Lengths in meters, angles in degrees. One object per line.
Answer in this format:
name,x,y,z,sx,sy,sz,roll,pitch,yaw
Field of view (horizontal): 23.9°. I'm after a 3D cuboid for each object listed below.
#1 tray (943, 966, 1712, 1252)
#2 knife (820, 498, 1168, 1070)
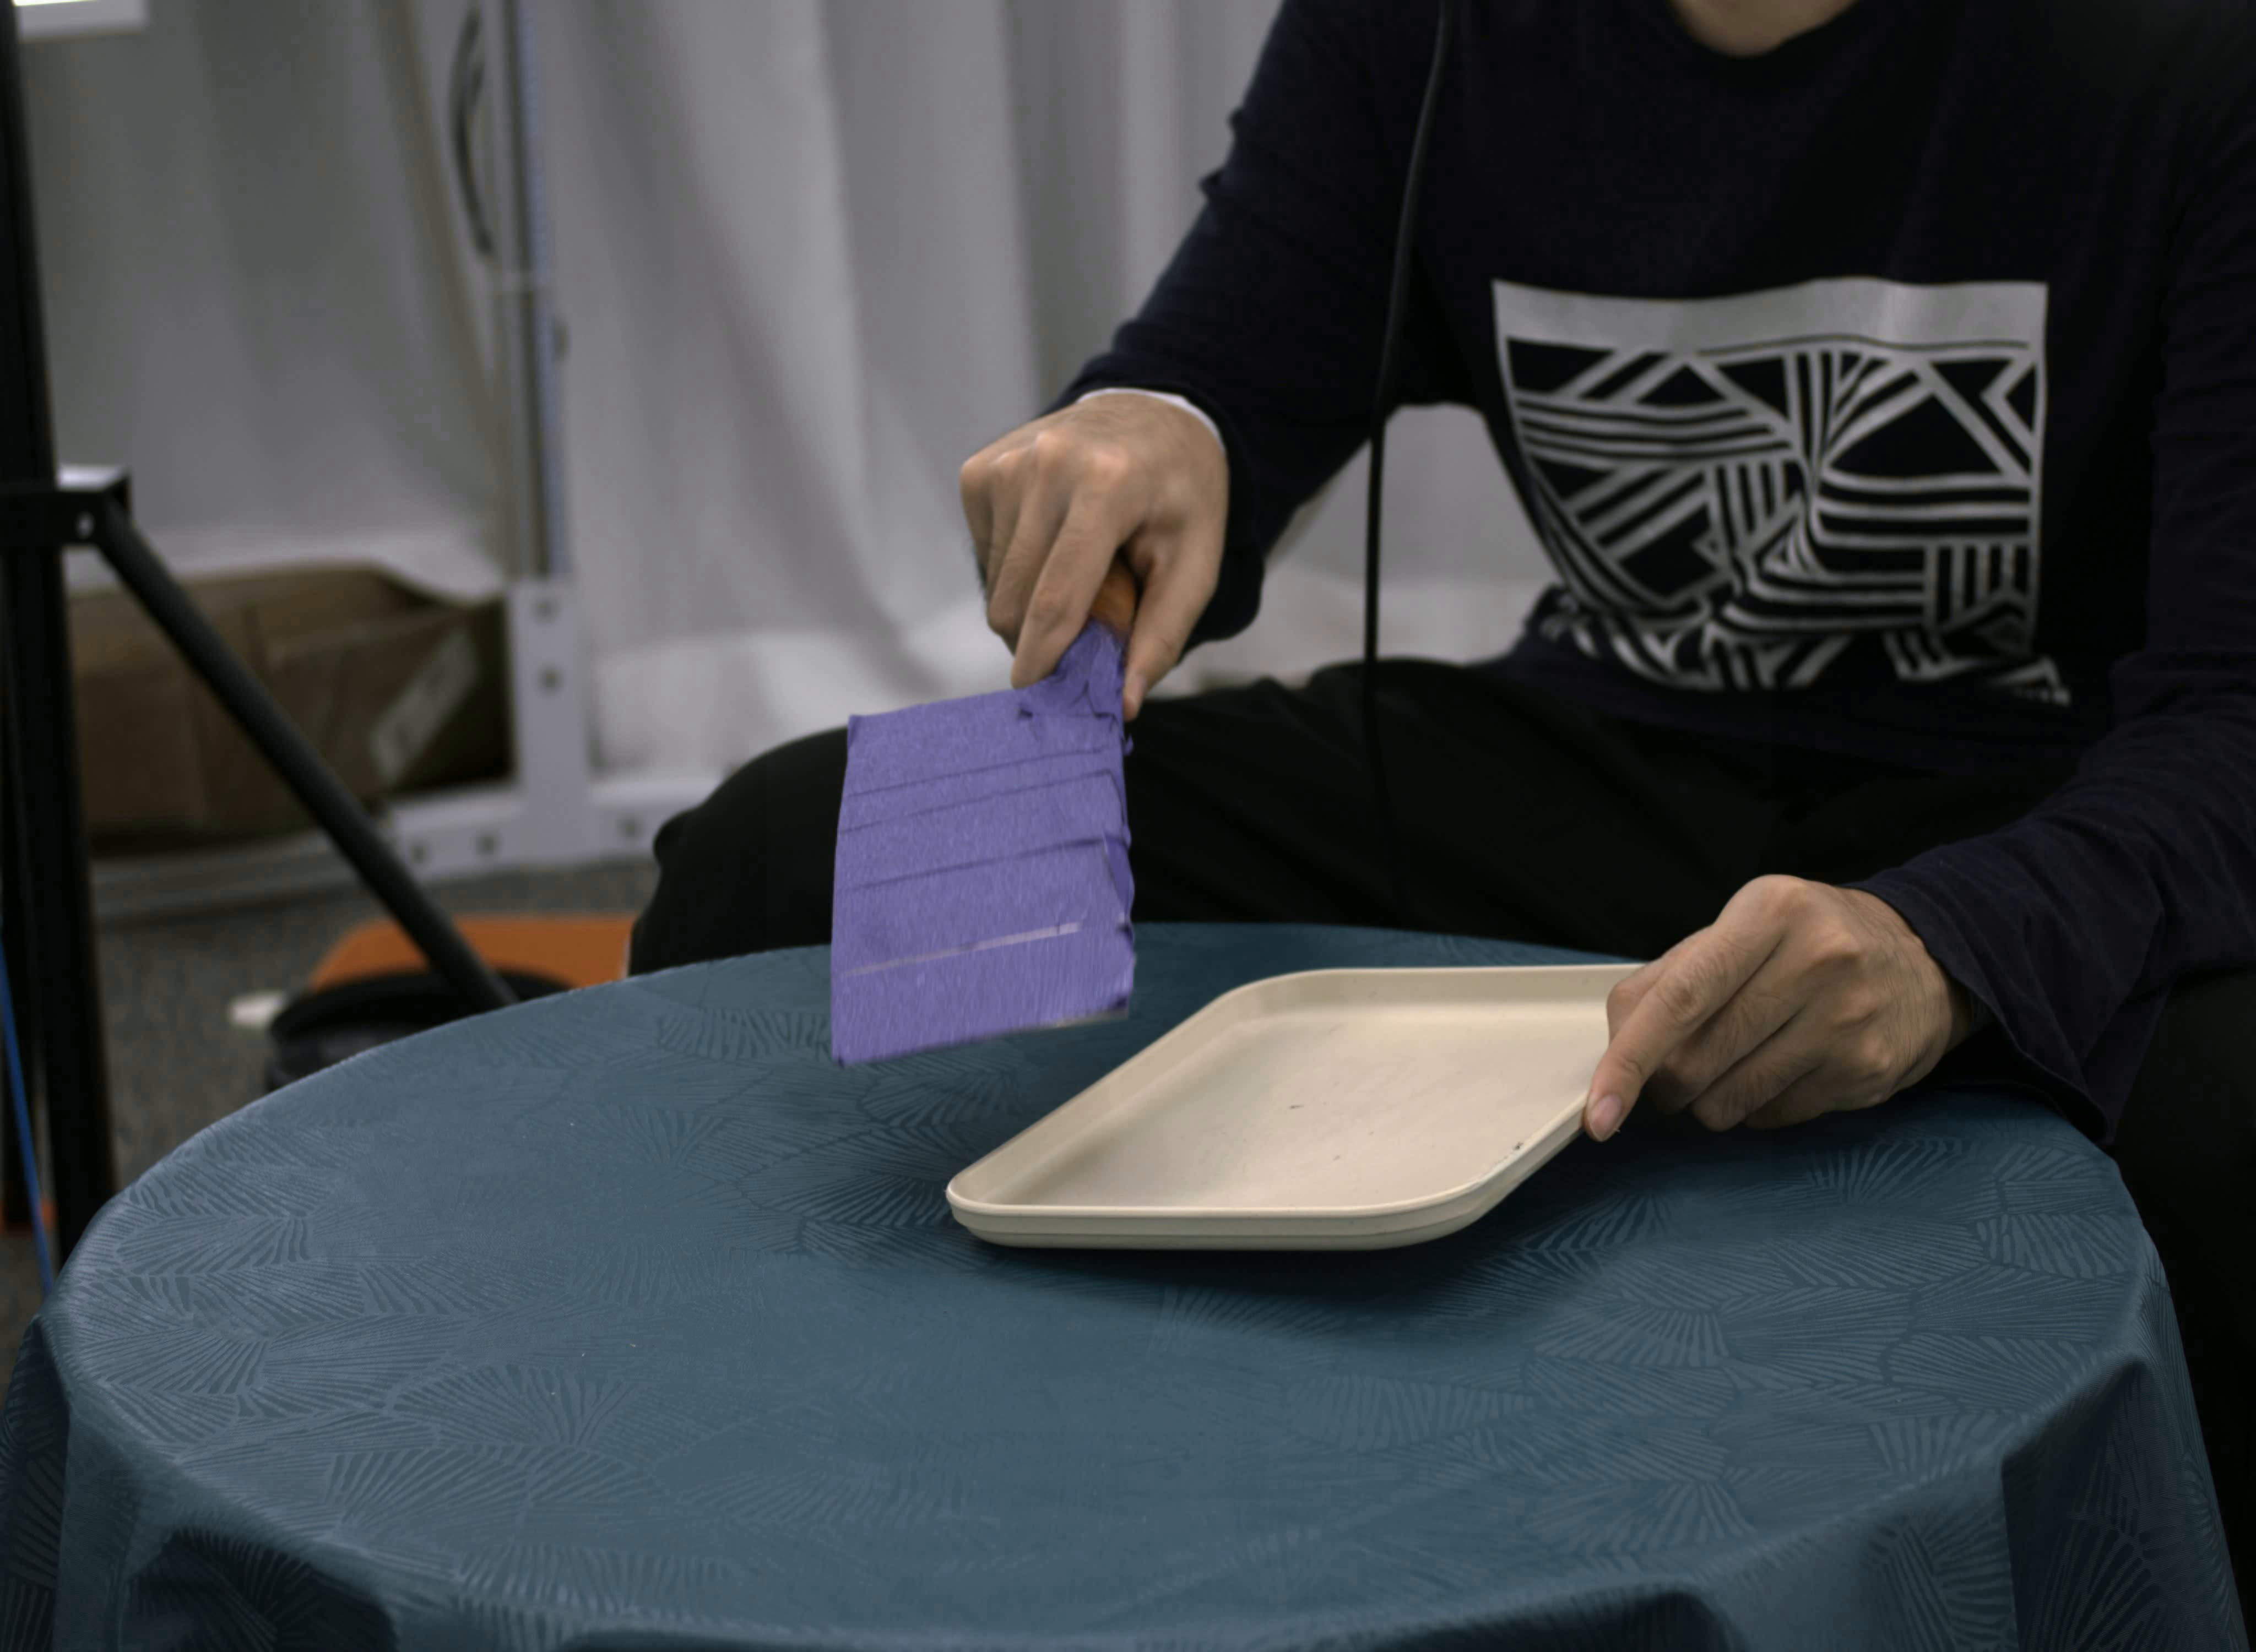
tray,0.064,0.084,1.574,0.174,0.017,0.236,-2,14,29
knife,-0.043,-0.018,1.655,0.104,0.032,0.318,-10,28,4
